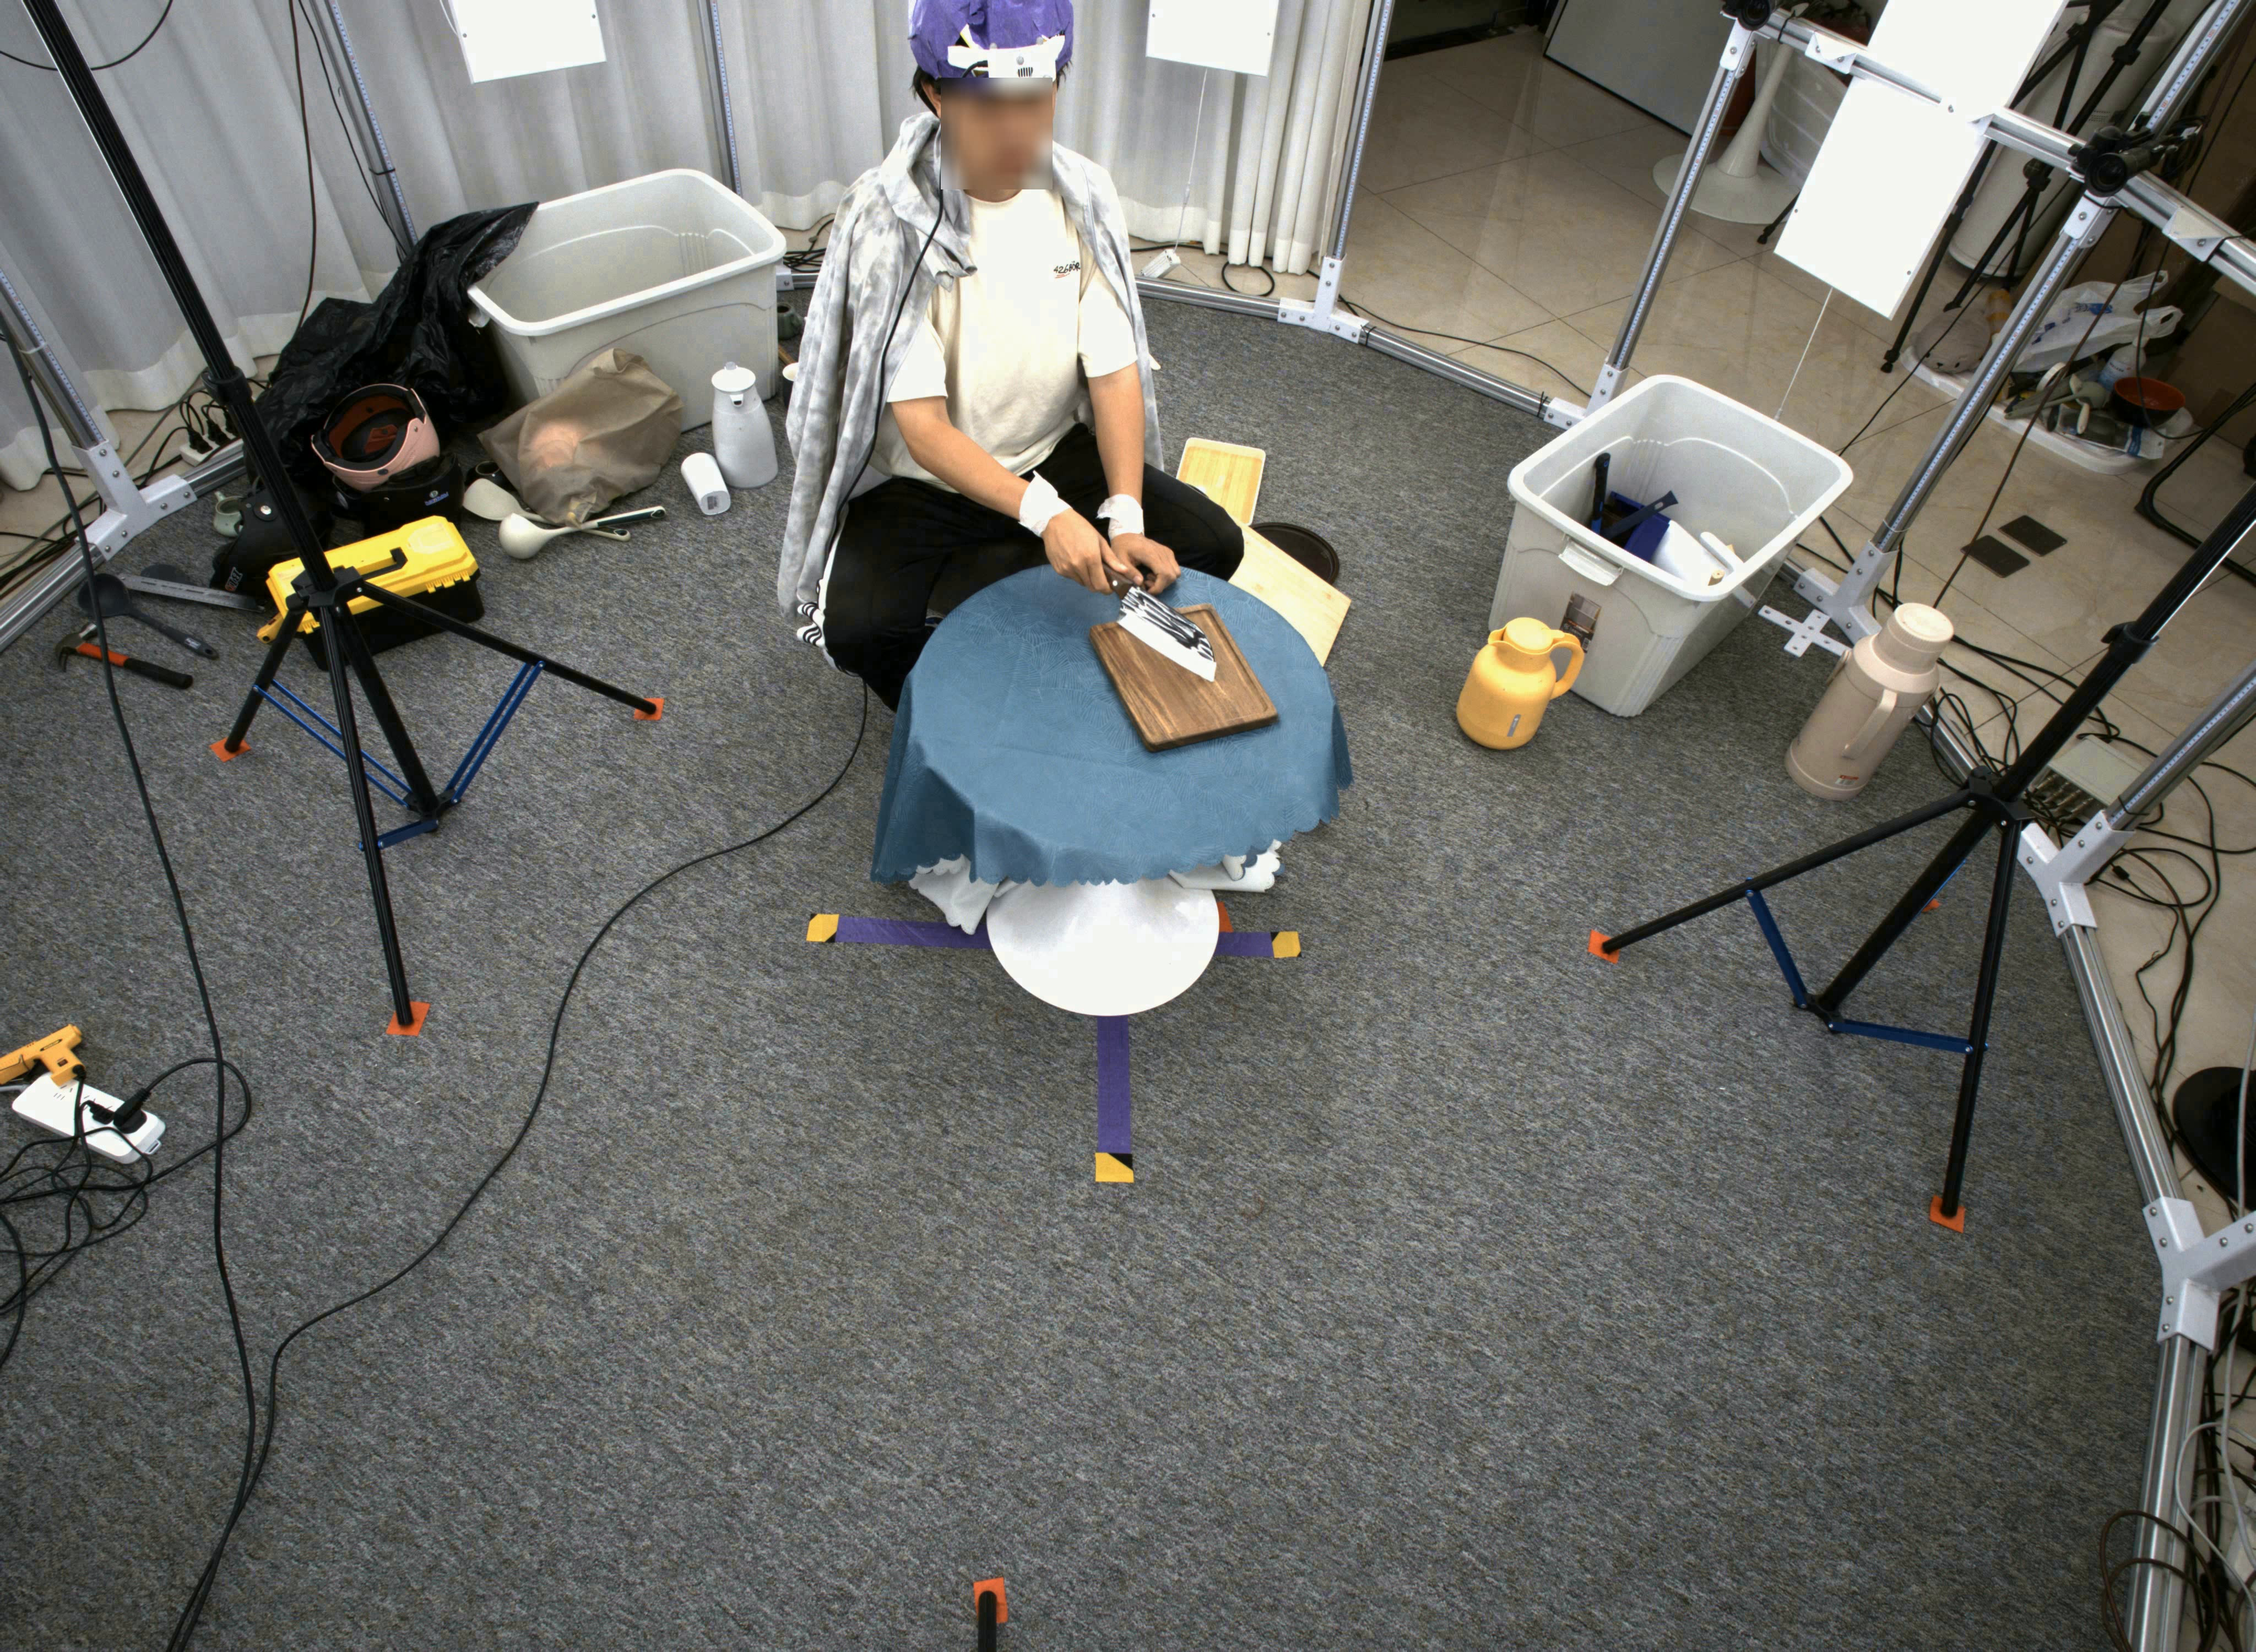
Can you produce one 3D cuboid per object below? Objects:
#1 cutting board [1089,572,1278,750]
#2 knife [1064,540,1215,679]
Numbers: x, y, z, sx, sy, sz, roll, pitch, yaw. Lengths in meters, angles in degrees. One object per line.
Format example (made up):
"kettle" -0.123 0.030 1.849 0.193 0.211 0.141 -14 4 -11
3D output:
"cutting board" 0.060 -0.257 1.876 0.201 0.022 0.360 -13 50 -15
"knife" 0.014 -0.314 1.863 0.303 0.067 0.024 37 30 18
